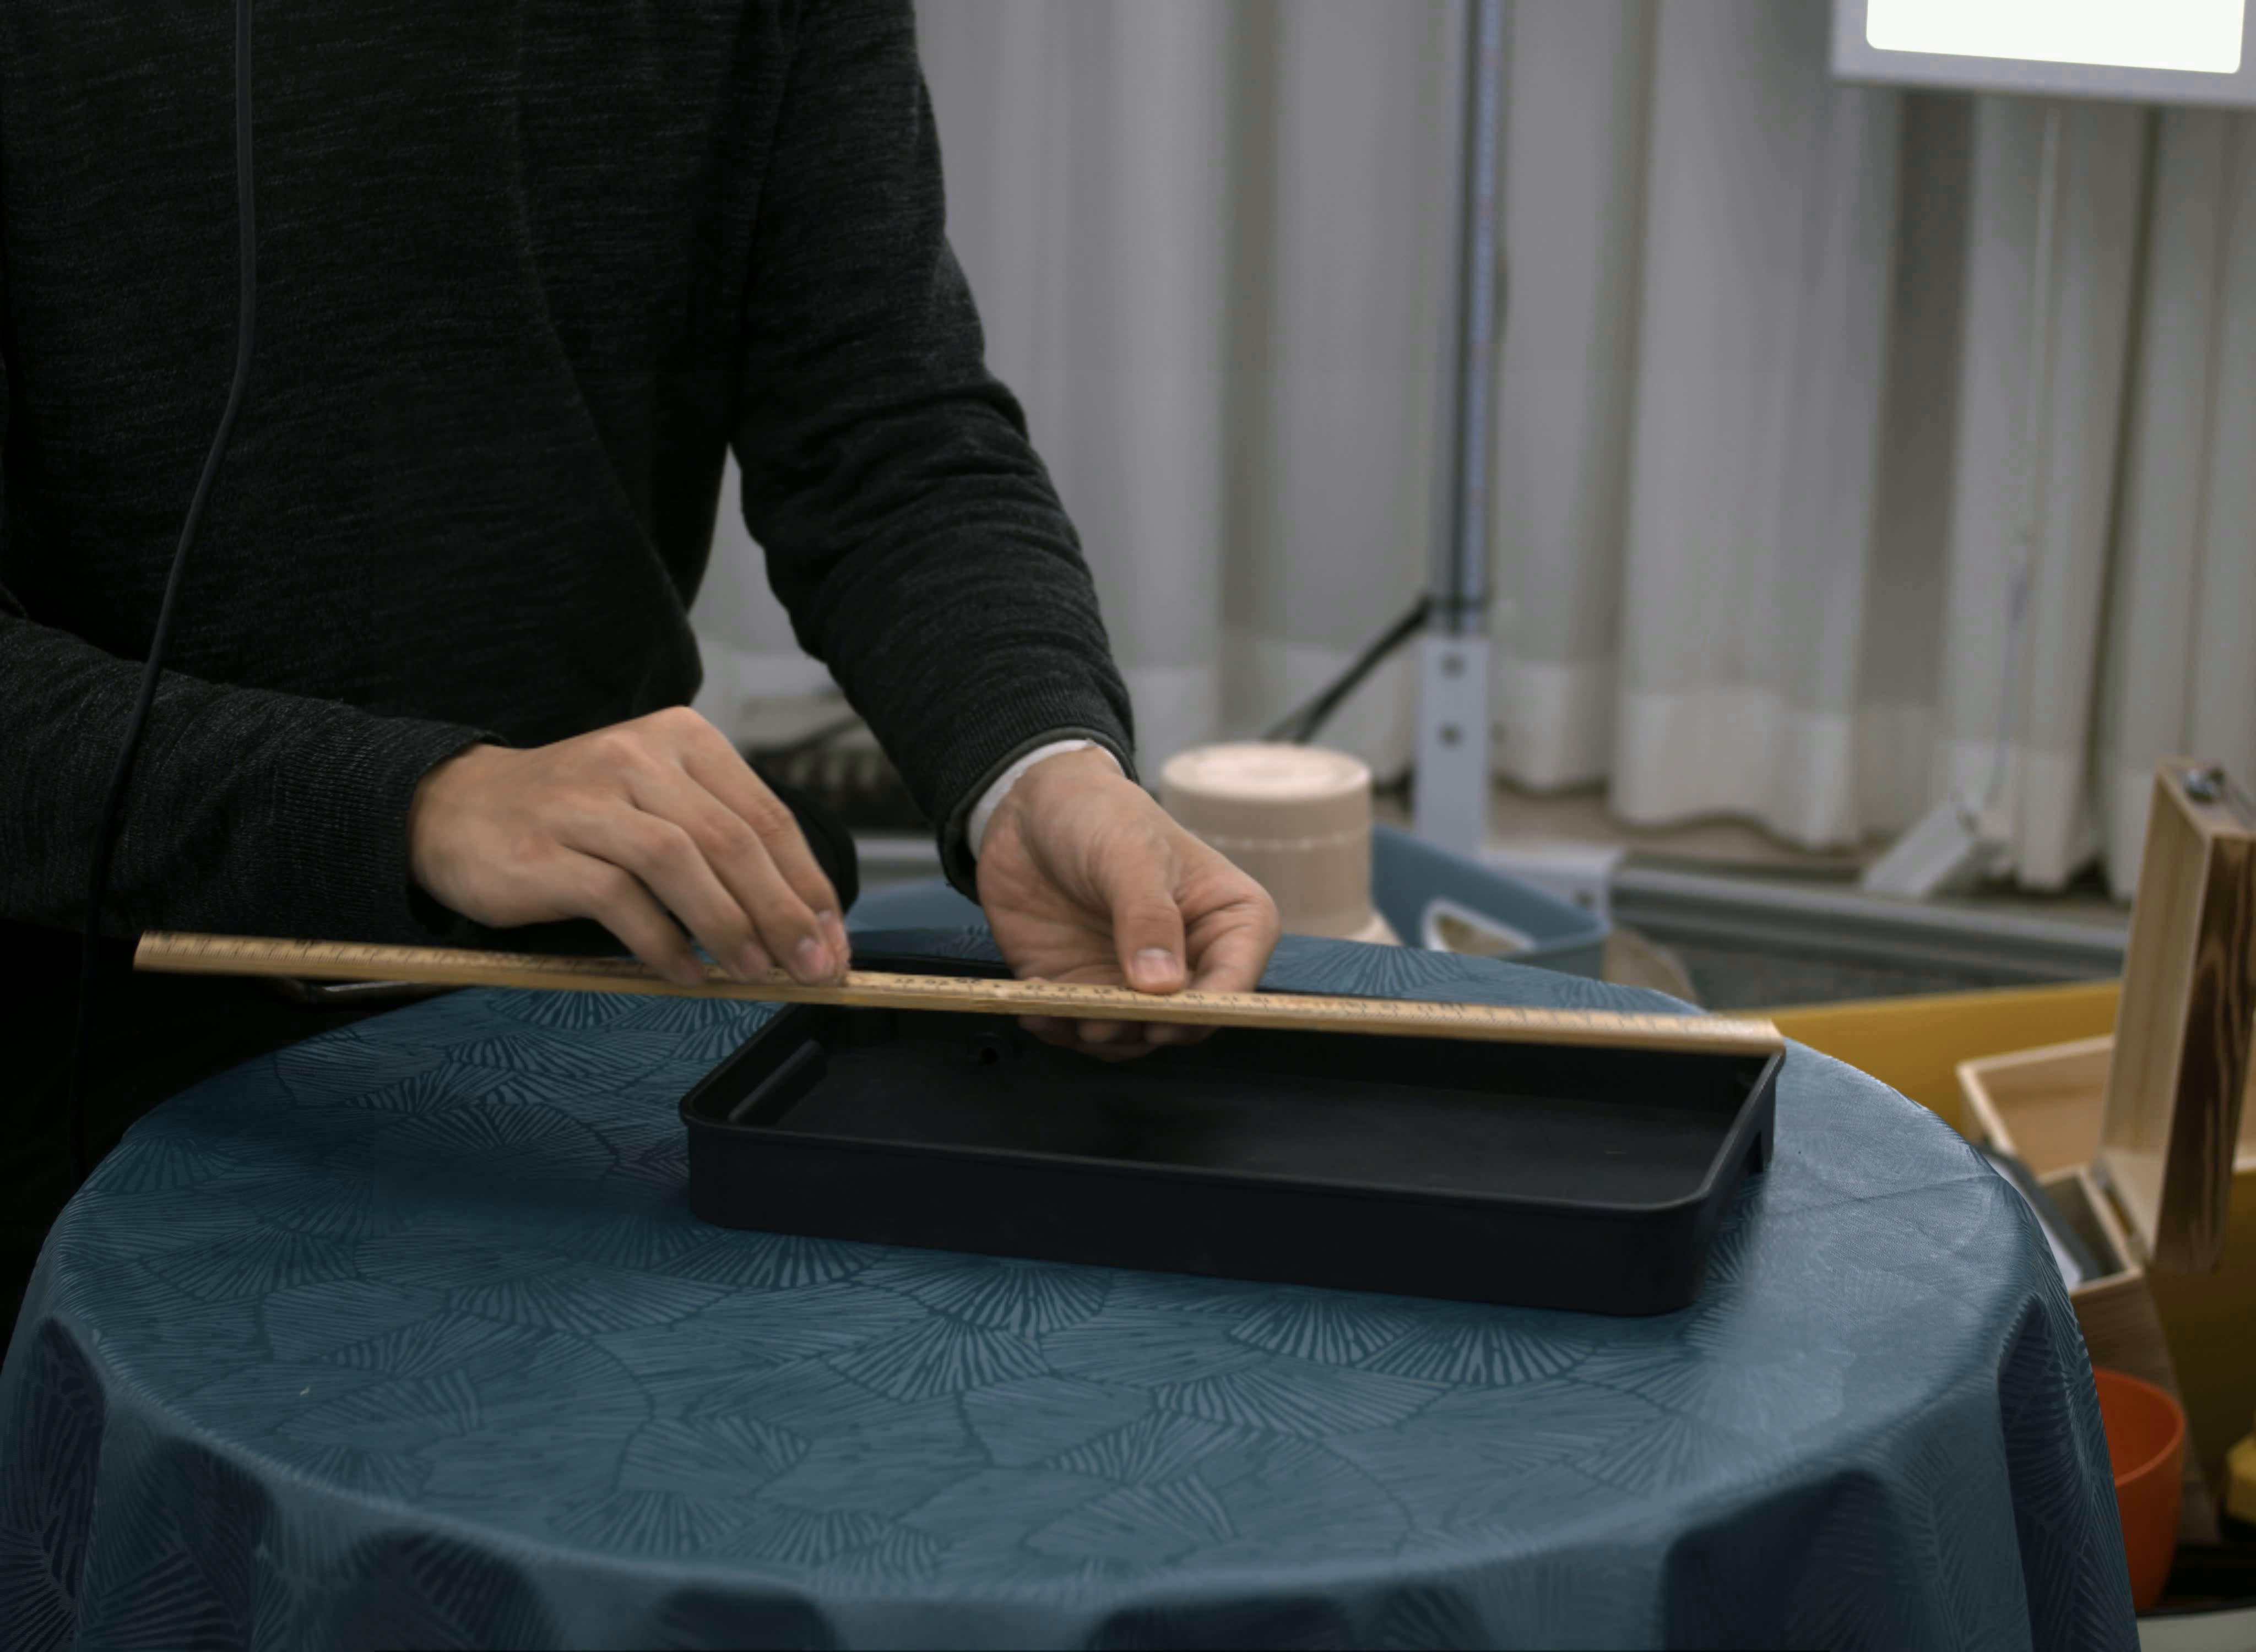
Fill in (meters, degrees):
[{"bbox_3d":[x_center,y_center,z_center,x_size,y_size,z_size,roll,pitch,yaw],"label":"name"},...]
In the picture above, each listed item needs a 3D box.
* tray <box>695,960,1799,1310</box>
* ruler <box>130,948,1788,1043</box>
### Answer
[{"bbox_3d":[0.040,0.093,1.627,0.315,0.037,0.184,4,16,13],"label":"tray"},{"bbox_3d":[-0.048,0.051,1.591,0.500,0.006,0.026,3,9,-6],"label":"ruler"}]
